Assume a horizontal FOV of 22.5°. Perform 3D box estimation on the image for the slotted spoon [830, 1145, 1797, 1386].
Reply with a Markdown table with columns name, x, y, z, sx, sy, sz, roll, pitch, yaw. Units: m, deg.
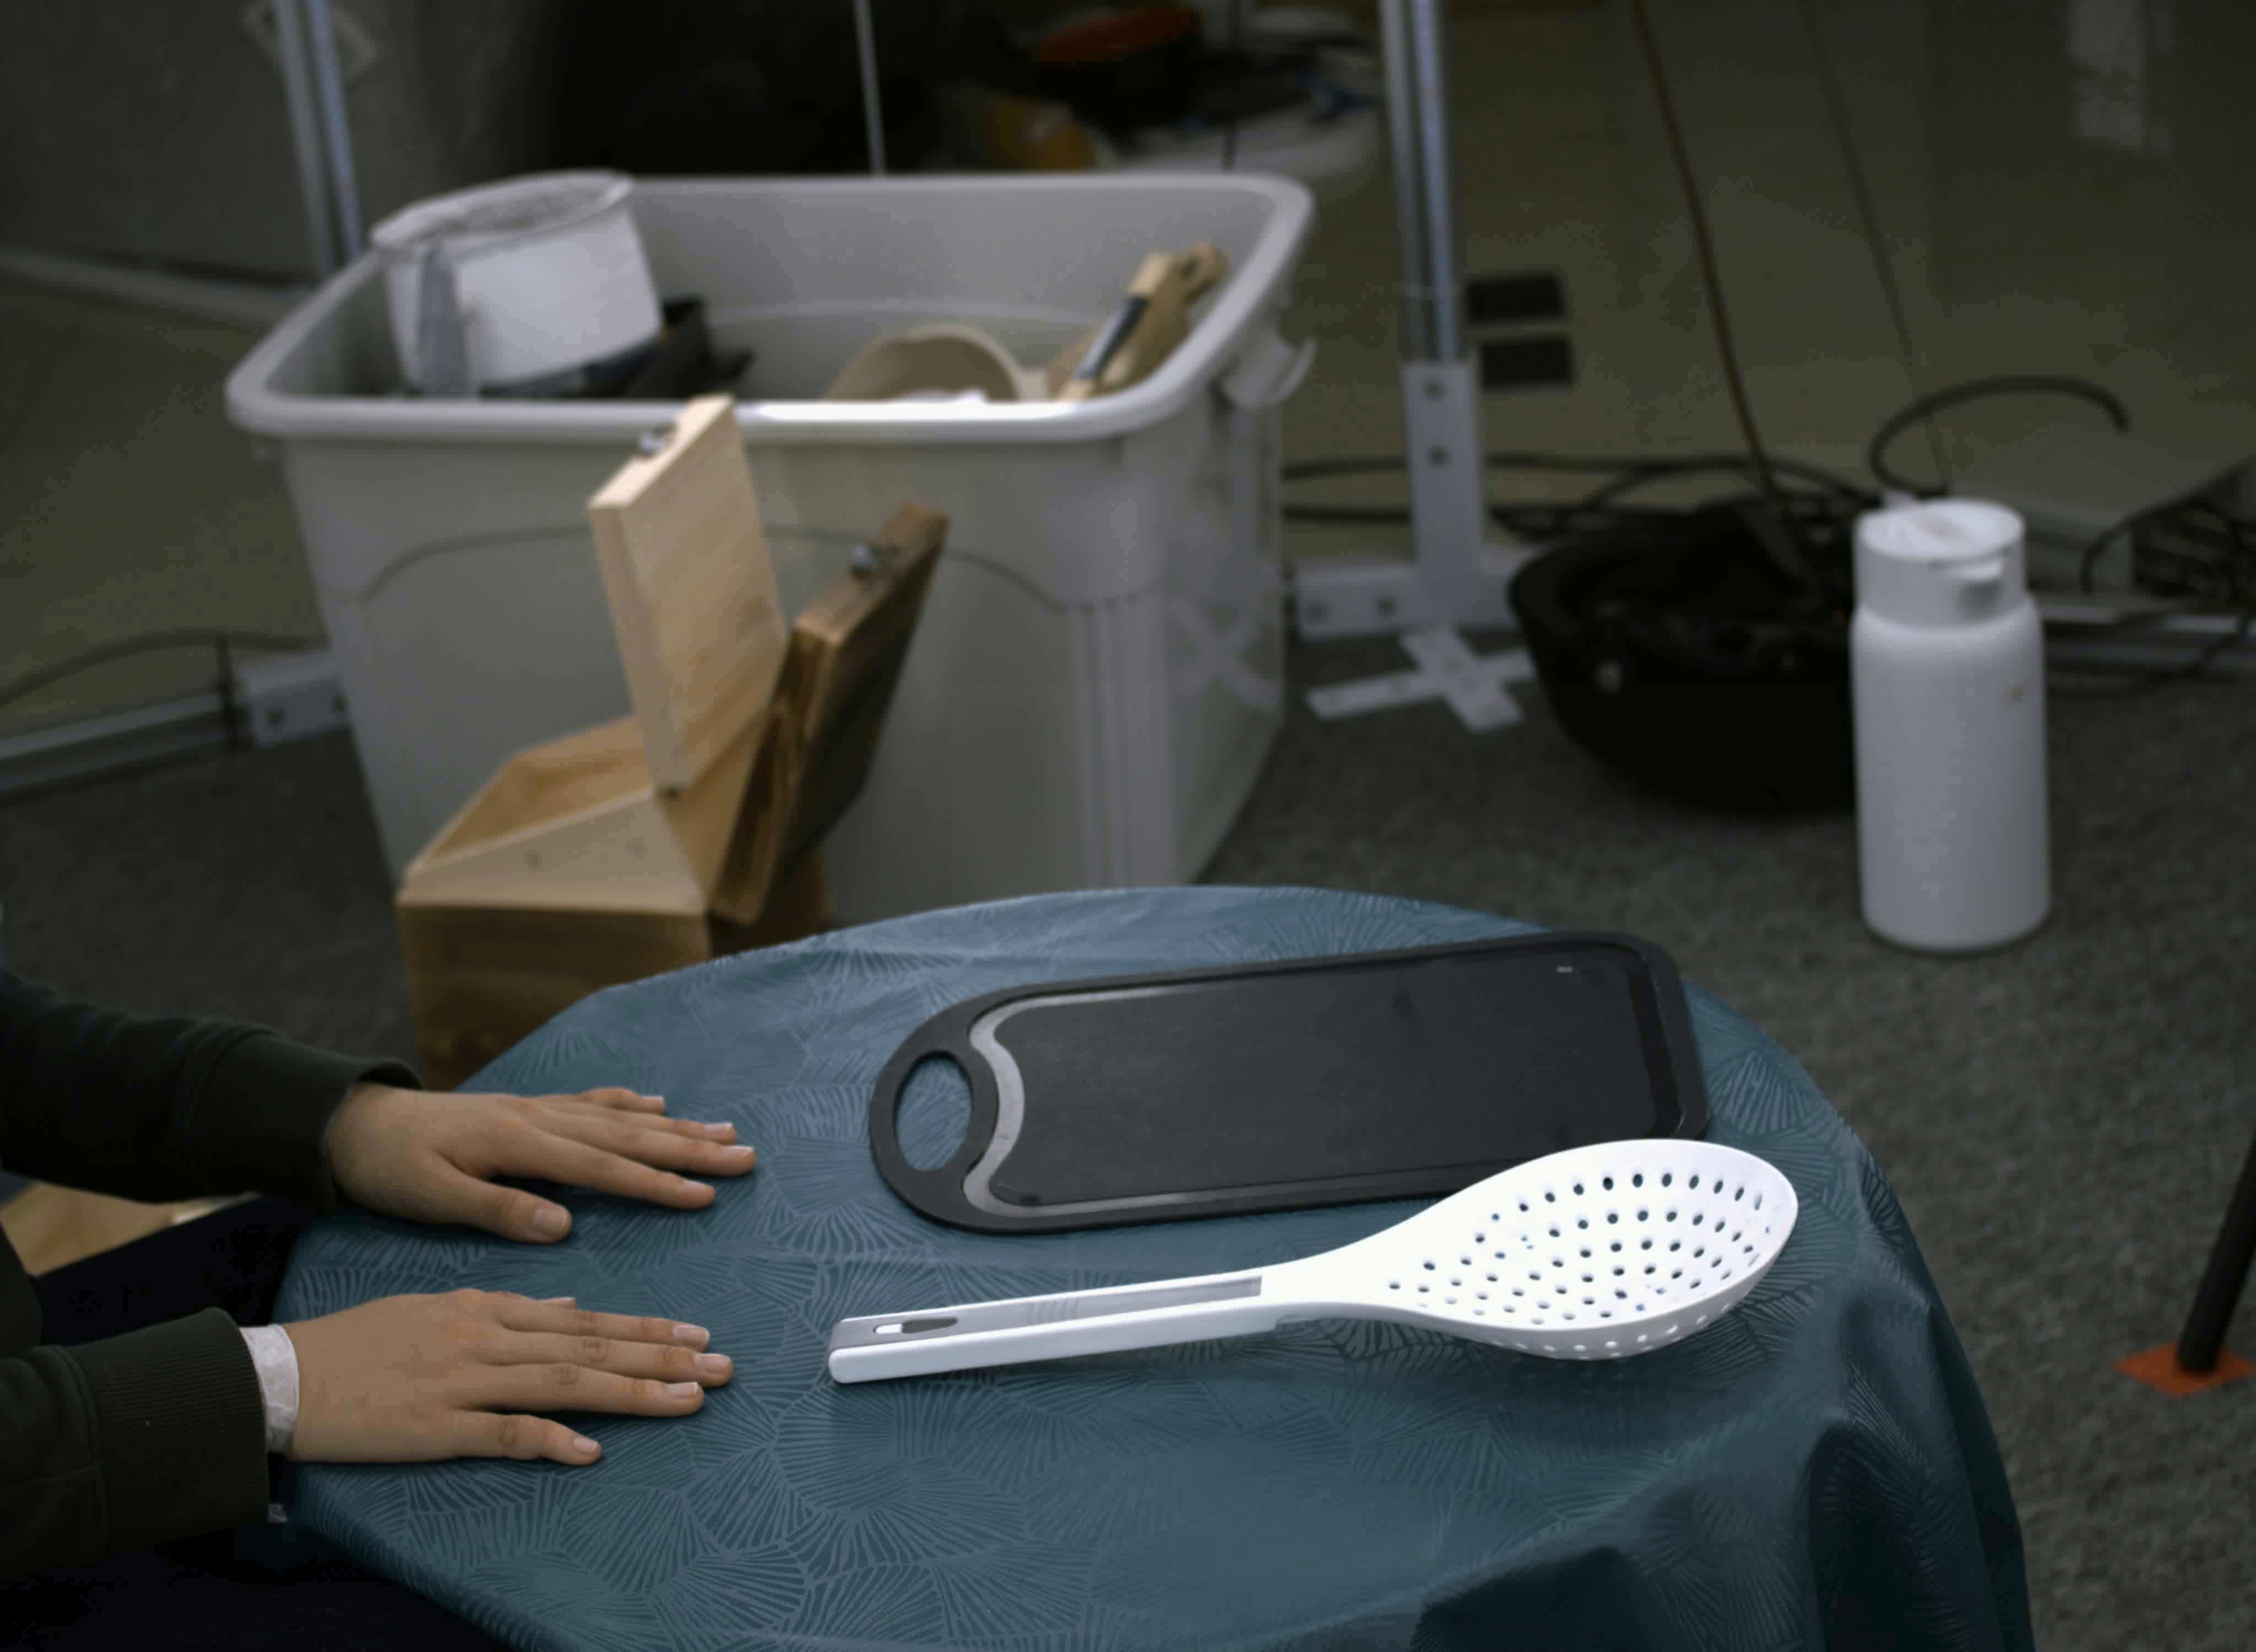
| name | x | y | z | sx | sy | sz | roll | pitch | yaw |
| --- | --- | --- | --- | --- | --- | --- | --- | --- | --- |
| slotted spoon | 0.064 | 0.166 | 2.024 | 0.349 | 0.046 | 0.134 | -4 | 23 | 7 |

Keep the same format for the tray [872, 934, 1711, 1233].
| name | x | y | z | sx | sy | sz | roll | pitch | yaw |
| --- | --- | --- | --- | --- | --- | --- | --- | --- | --- |
| tray | 0.061 | 0.098 | 2.217 | 0.325 | 0.010 | 0.208 | -6 | 24 | 3 |
